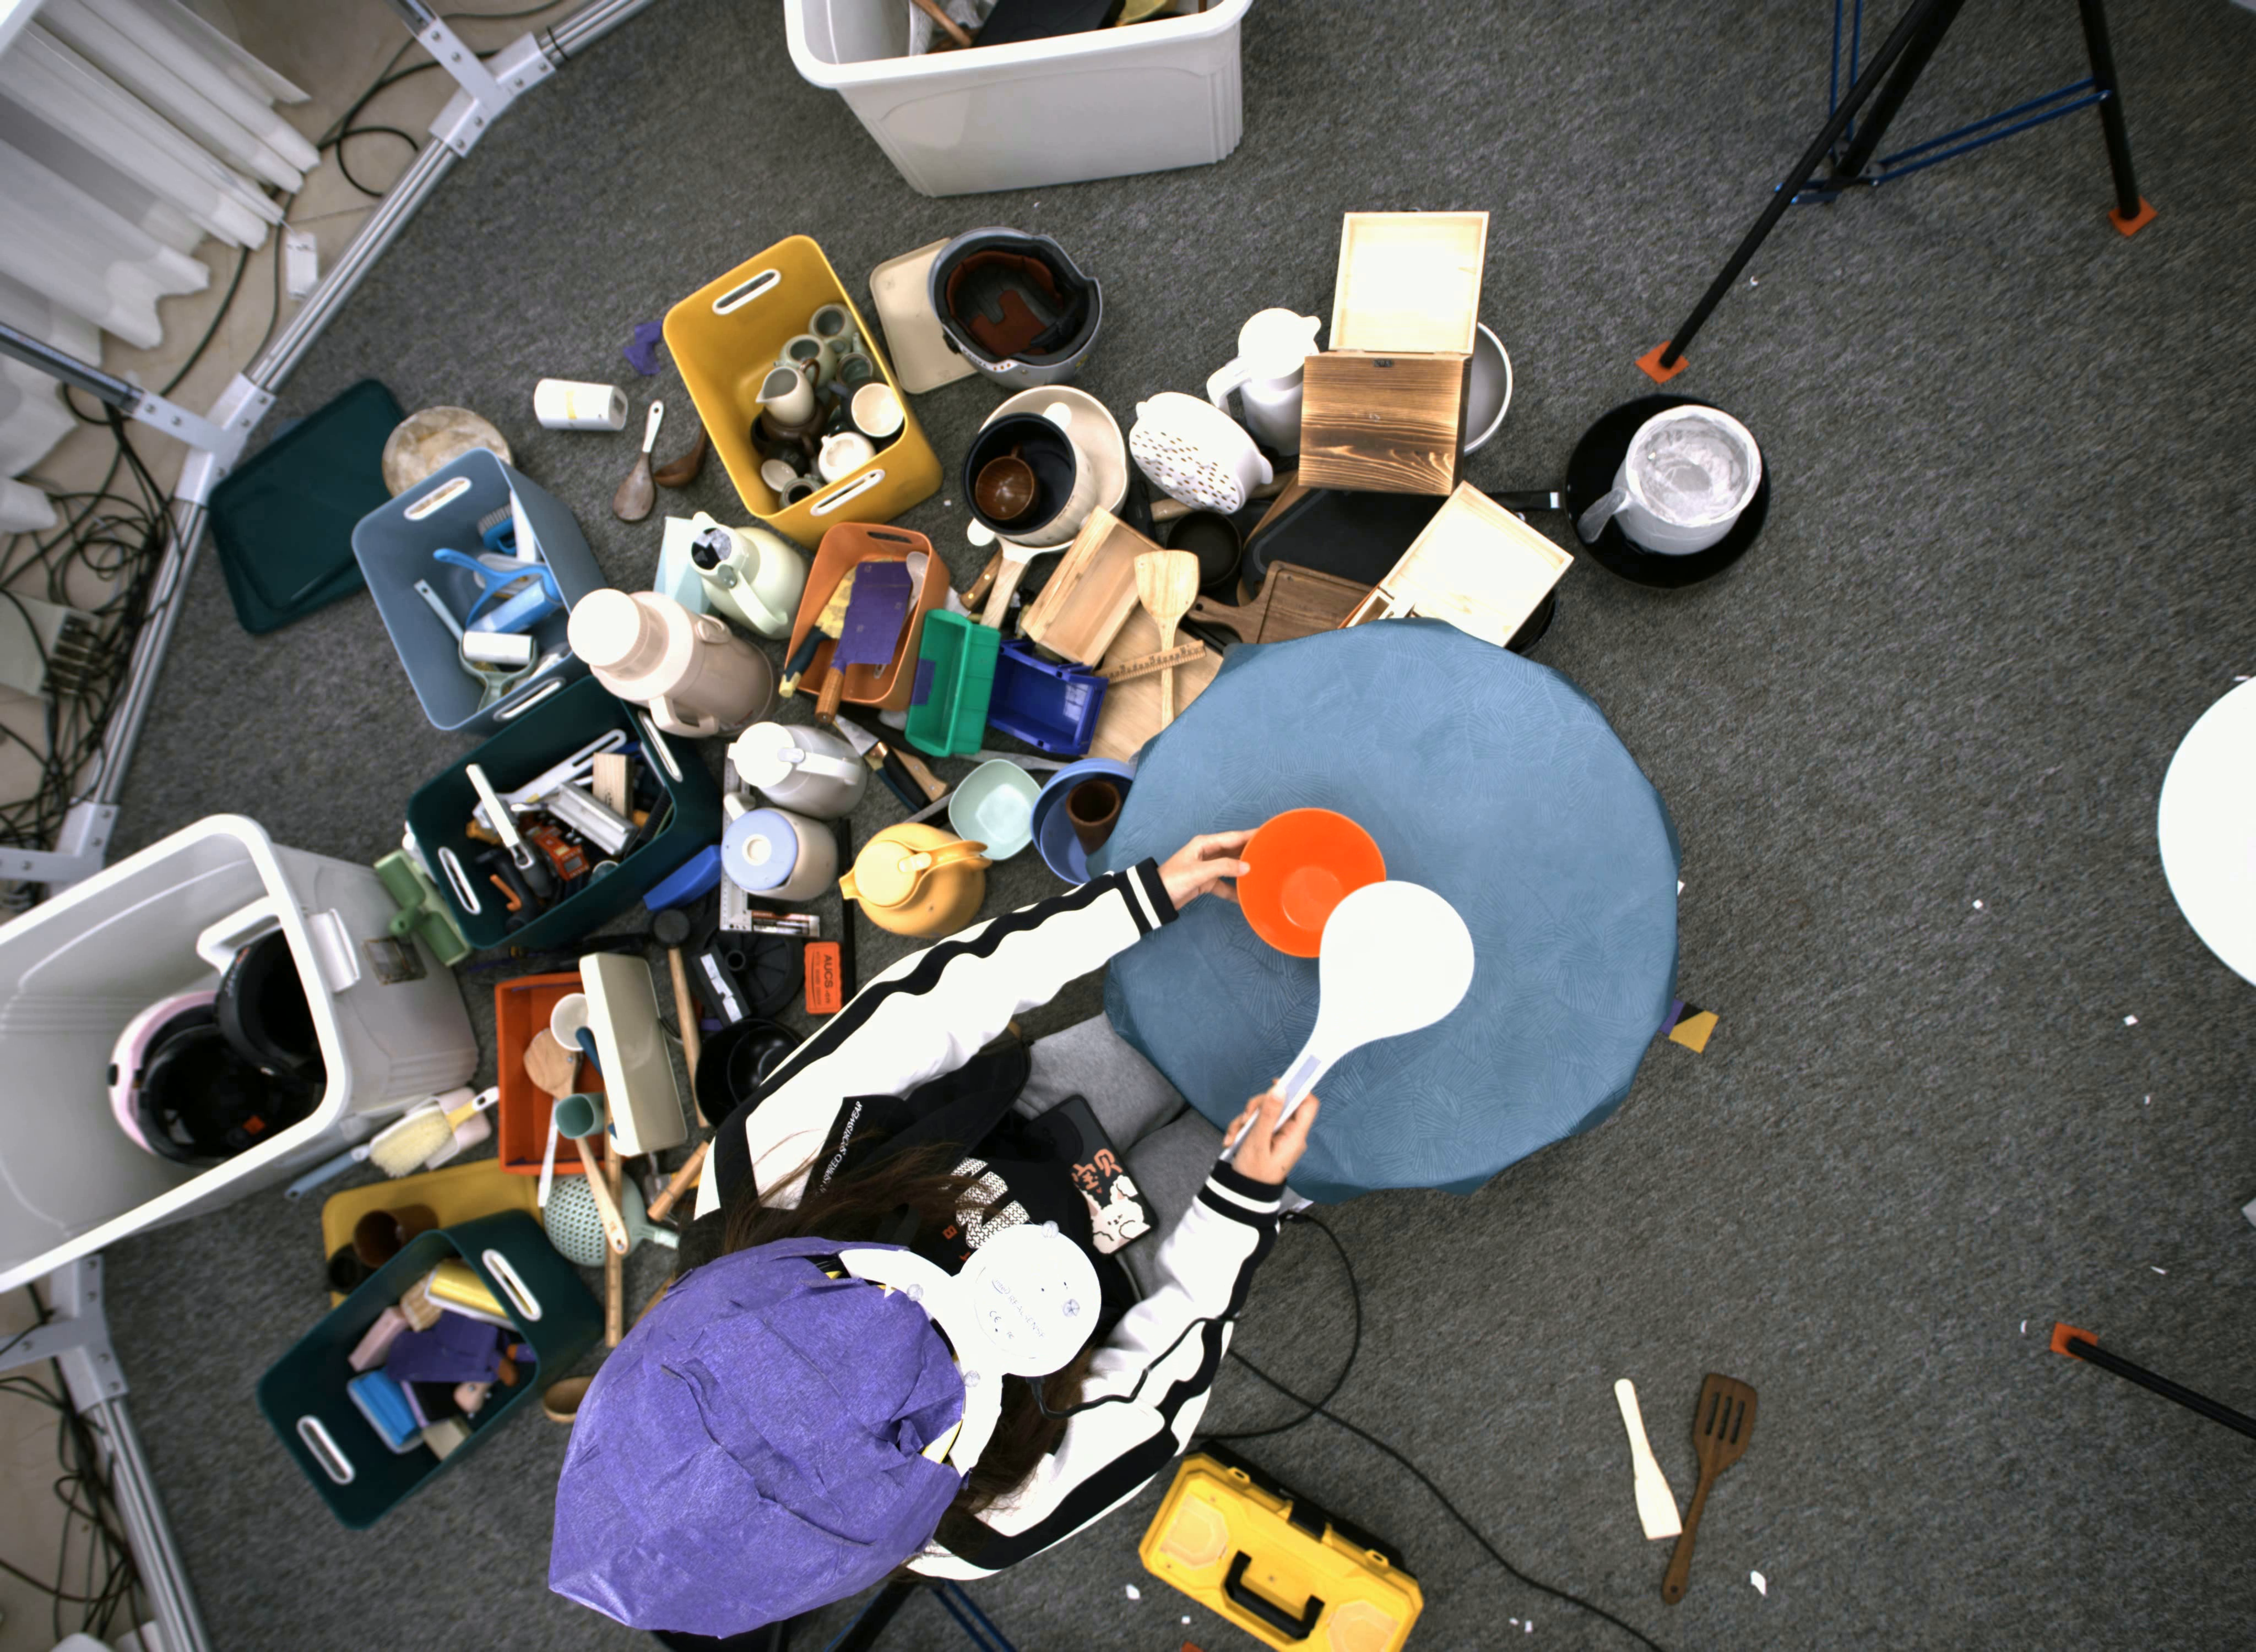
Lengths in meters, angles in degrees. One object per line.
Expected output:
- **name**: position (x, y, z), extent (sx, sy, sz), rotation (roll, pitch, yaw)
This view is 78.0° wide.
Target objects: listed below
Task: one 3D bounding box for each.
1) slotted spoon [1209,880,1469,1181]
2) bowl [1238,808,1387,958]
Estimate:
- **slotted spoon**: position (0.186, 0.200, 1.310), extent (0.136, 0.045, 0.353), rotation (37, 103, 7)
- **bowl**: position (0.187, 0.060, 1.411), extent (0.148, 0.105, 0.147), rotation (-1, 86, 7)
